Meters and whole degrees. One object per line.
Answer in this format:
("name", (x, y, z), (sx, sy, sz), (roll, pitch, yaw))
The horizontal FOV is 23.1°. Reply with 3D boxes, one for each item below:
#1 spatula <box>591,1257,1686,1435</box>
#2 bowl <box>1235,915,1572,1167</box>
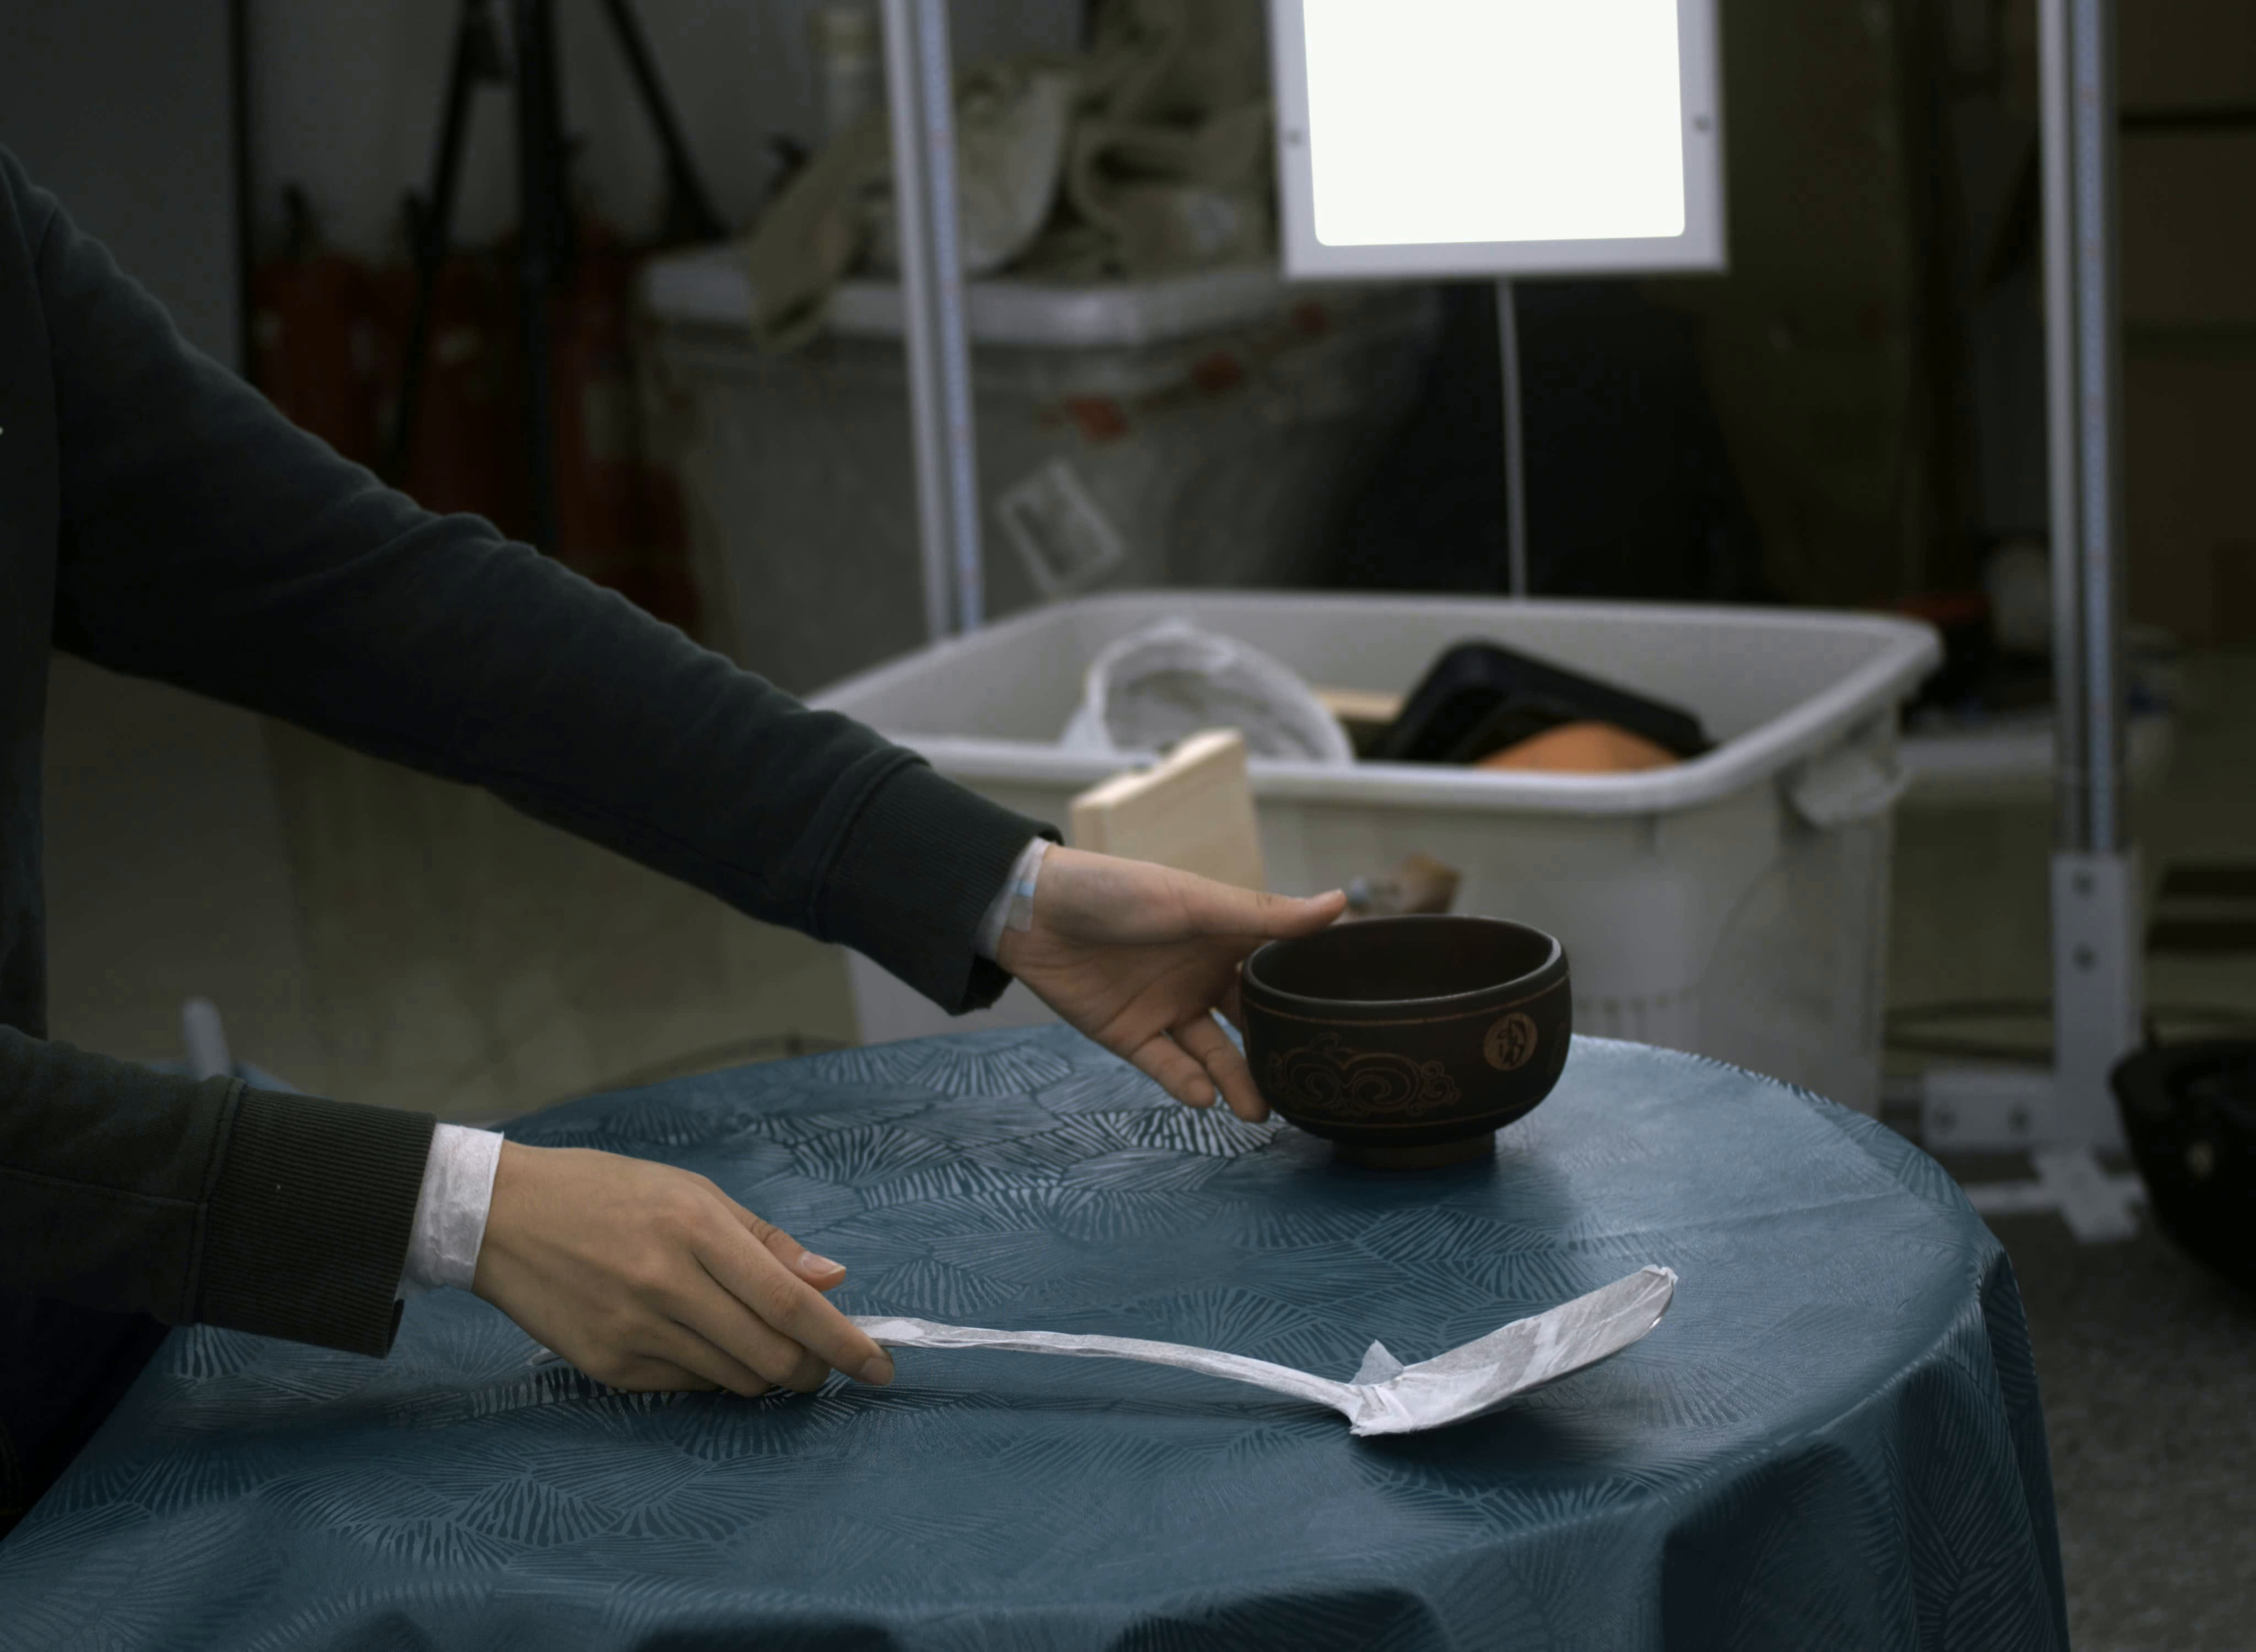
("spatula", (-0.008, 0.155, 1.694), (0.370, 0.045, 0.097), (2, 17, 22))
("bowl", (0.098, 0.078, 1.912), (0.118, 0.070, 0.118), (-6, 12, 0))
